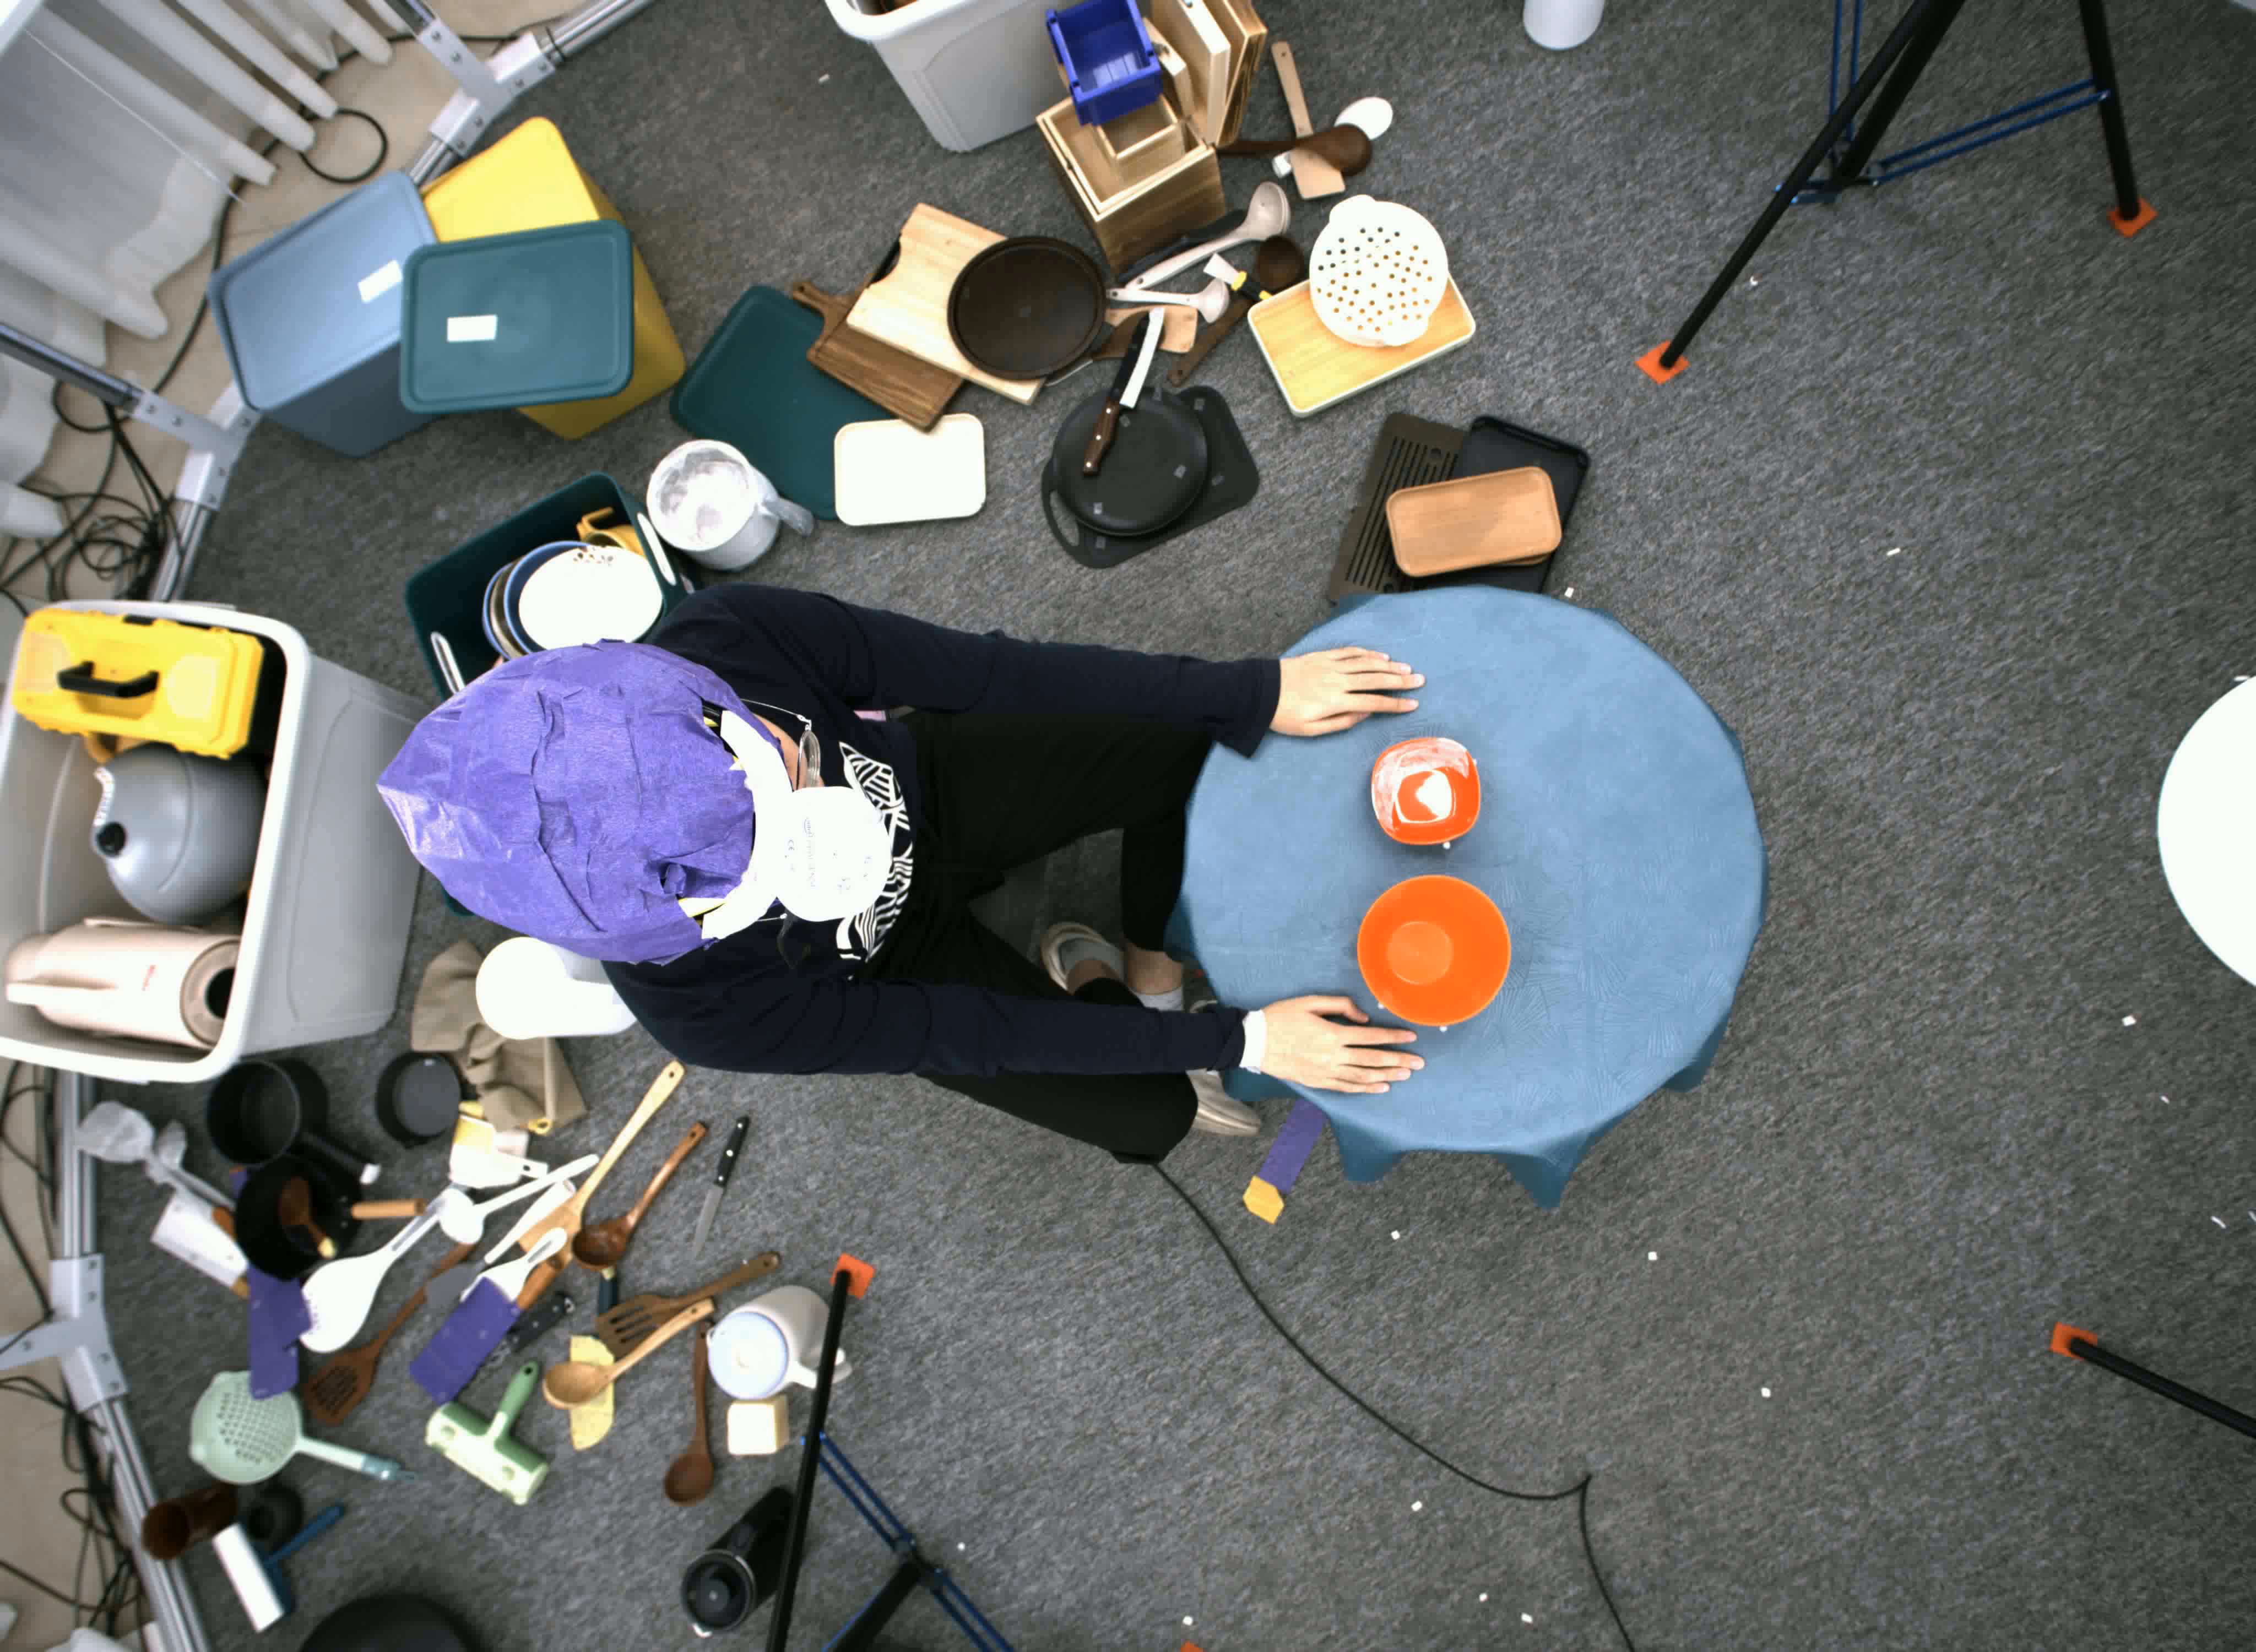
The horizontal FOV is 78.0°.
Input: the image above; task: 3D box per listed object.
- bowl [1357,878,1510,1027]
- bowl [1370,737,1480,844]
[{"bbox_3d":[0.307,0.127,1.399,0.148,0.104,0.147,-1,86,10],"label":"bowl"},{"bbox_3d":[0.309,-0.036,1.434,0.119,0.051,0.118,-1,88,11],"label":"bowl"}]
